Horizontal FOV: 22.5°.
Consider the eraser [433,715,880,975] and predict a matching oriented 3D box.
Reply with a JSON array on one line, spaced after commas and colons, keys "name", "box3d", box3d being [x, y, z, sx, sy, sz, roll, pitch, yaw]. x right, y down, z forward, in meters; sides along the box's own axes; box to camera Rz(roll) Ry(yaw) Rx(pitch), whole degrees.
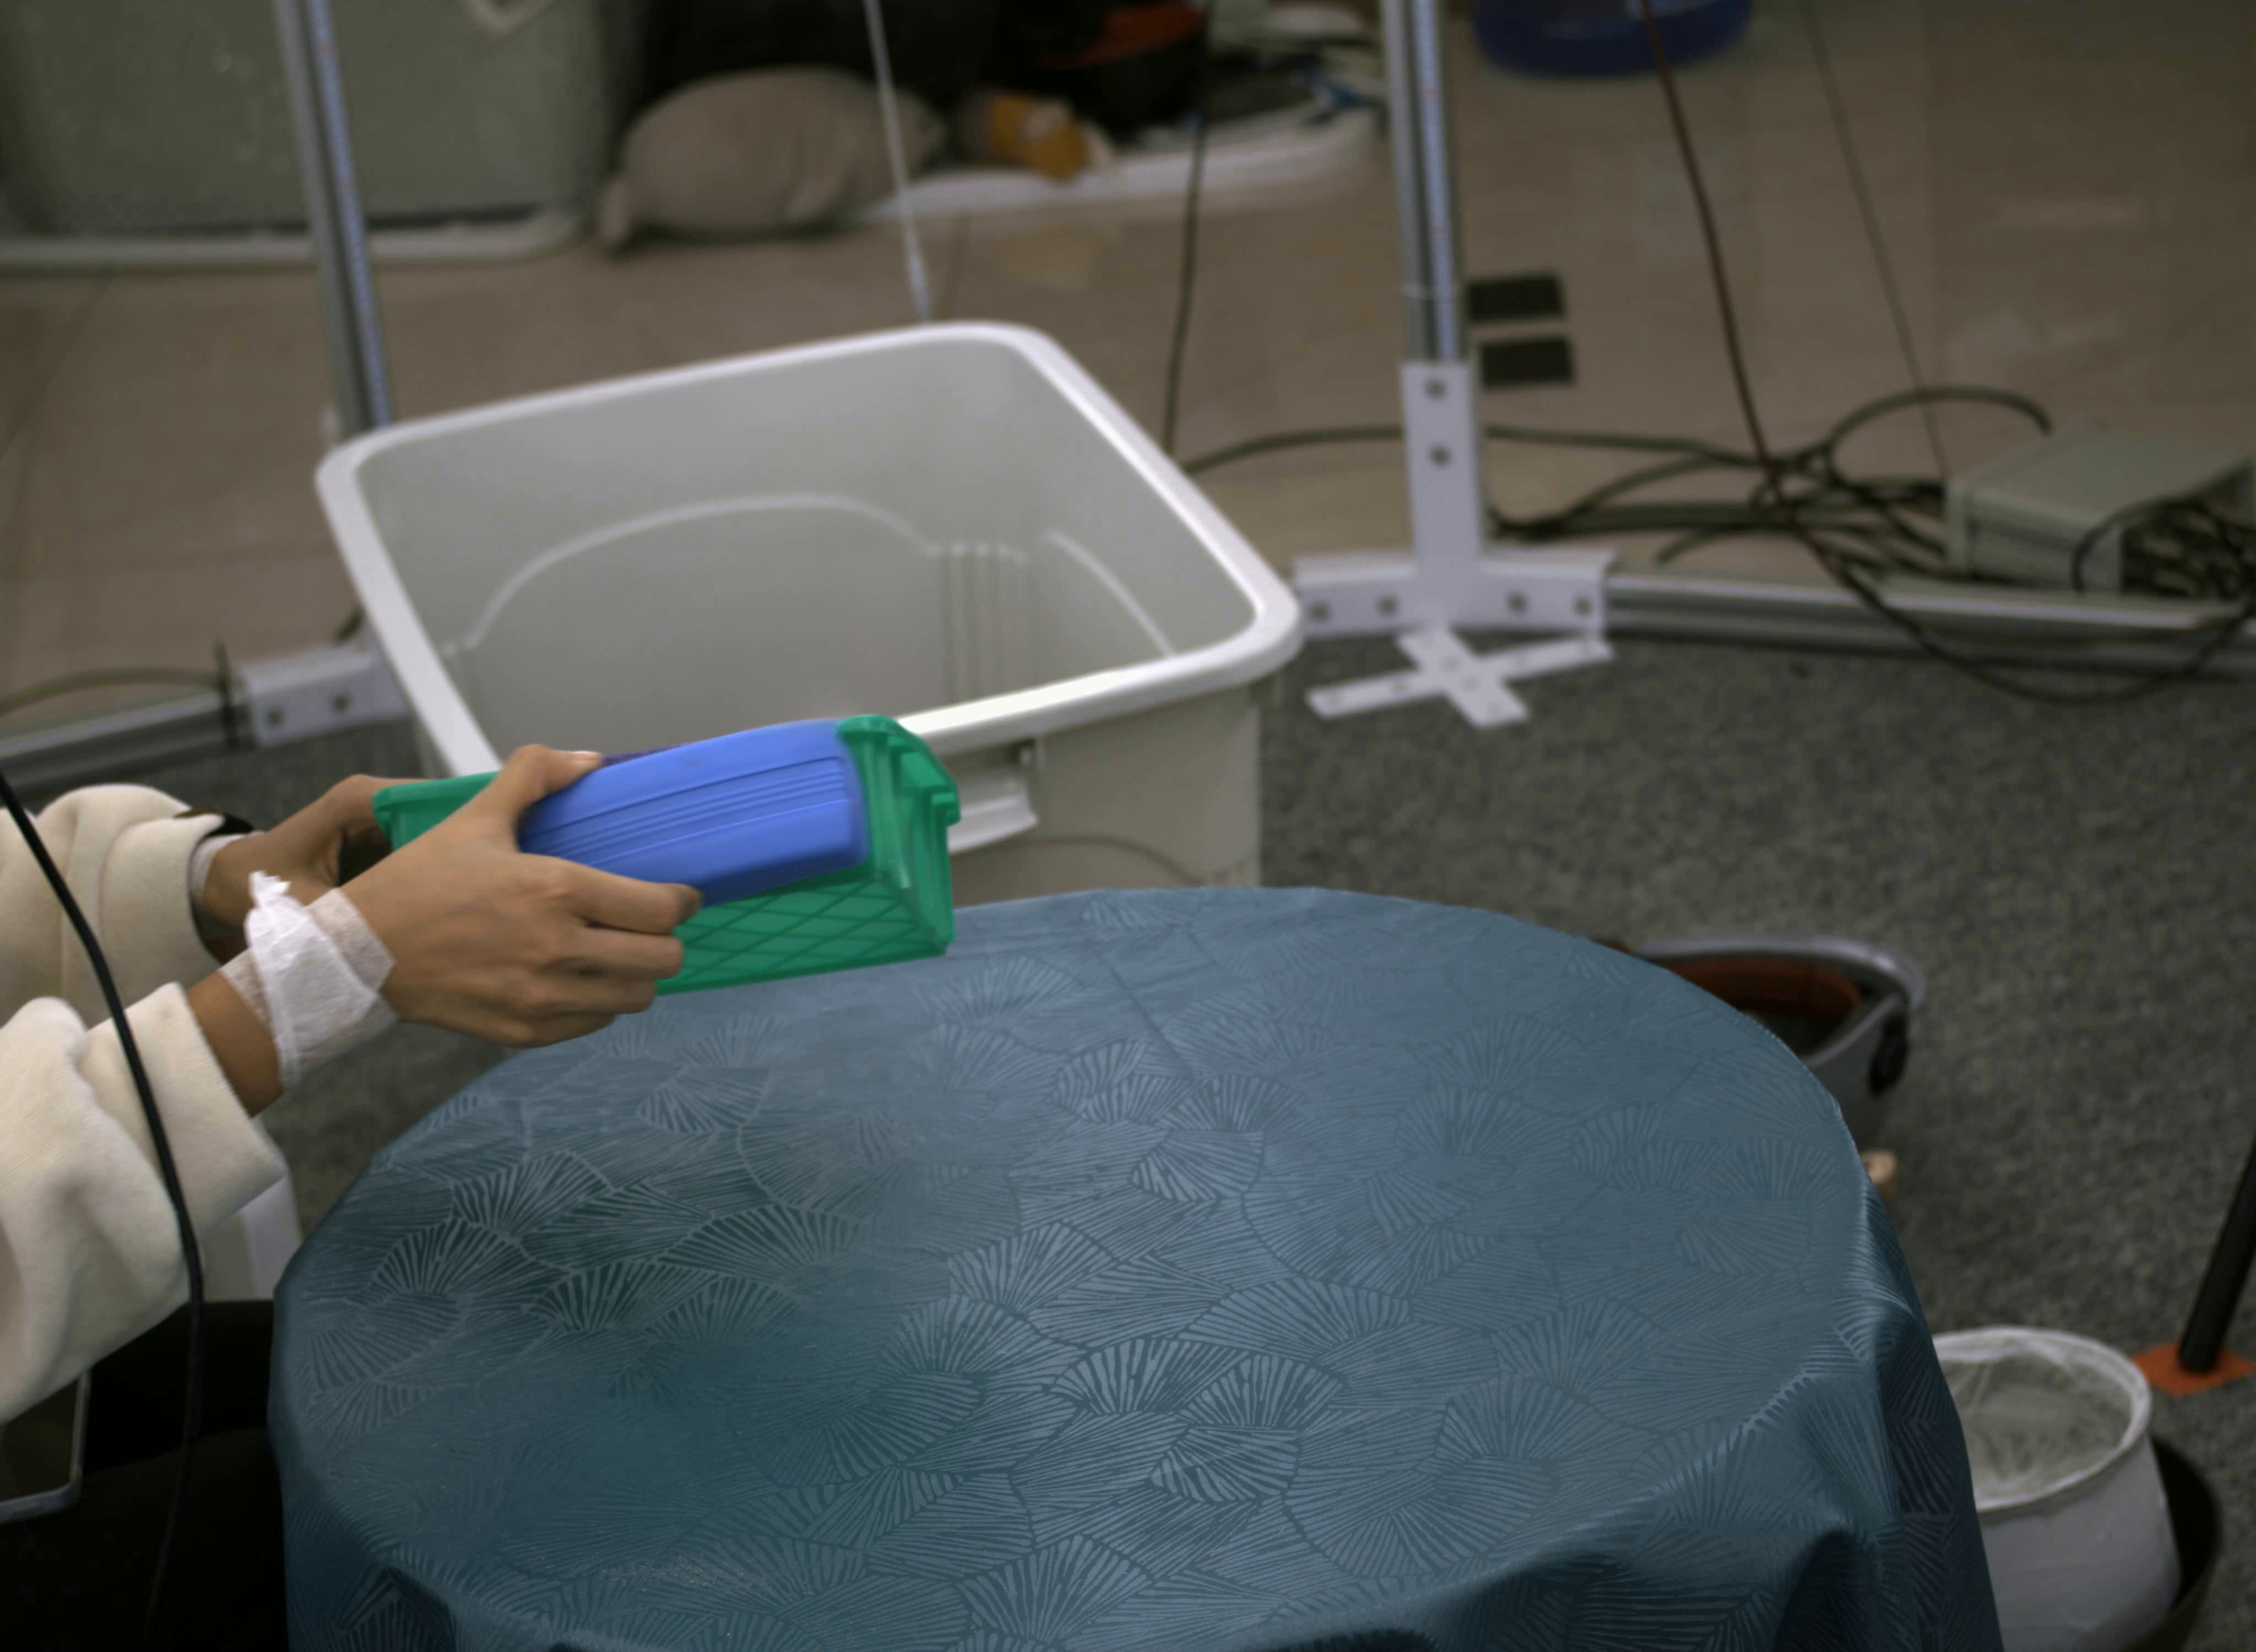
[{"name": "eraser", "box3d": [-0.171, 0.006, 2.037, 0.162, 0.053, 0.048, -16, -14, 7]}]

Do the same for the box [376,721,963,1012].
[{"name": "box", "box3d": [-0.168, 0.018, 2.126, 0.210, 0.065, 0.140, -6, -15, 8]}]
